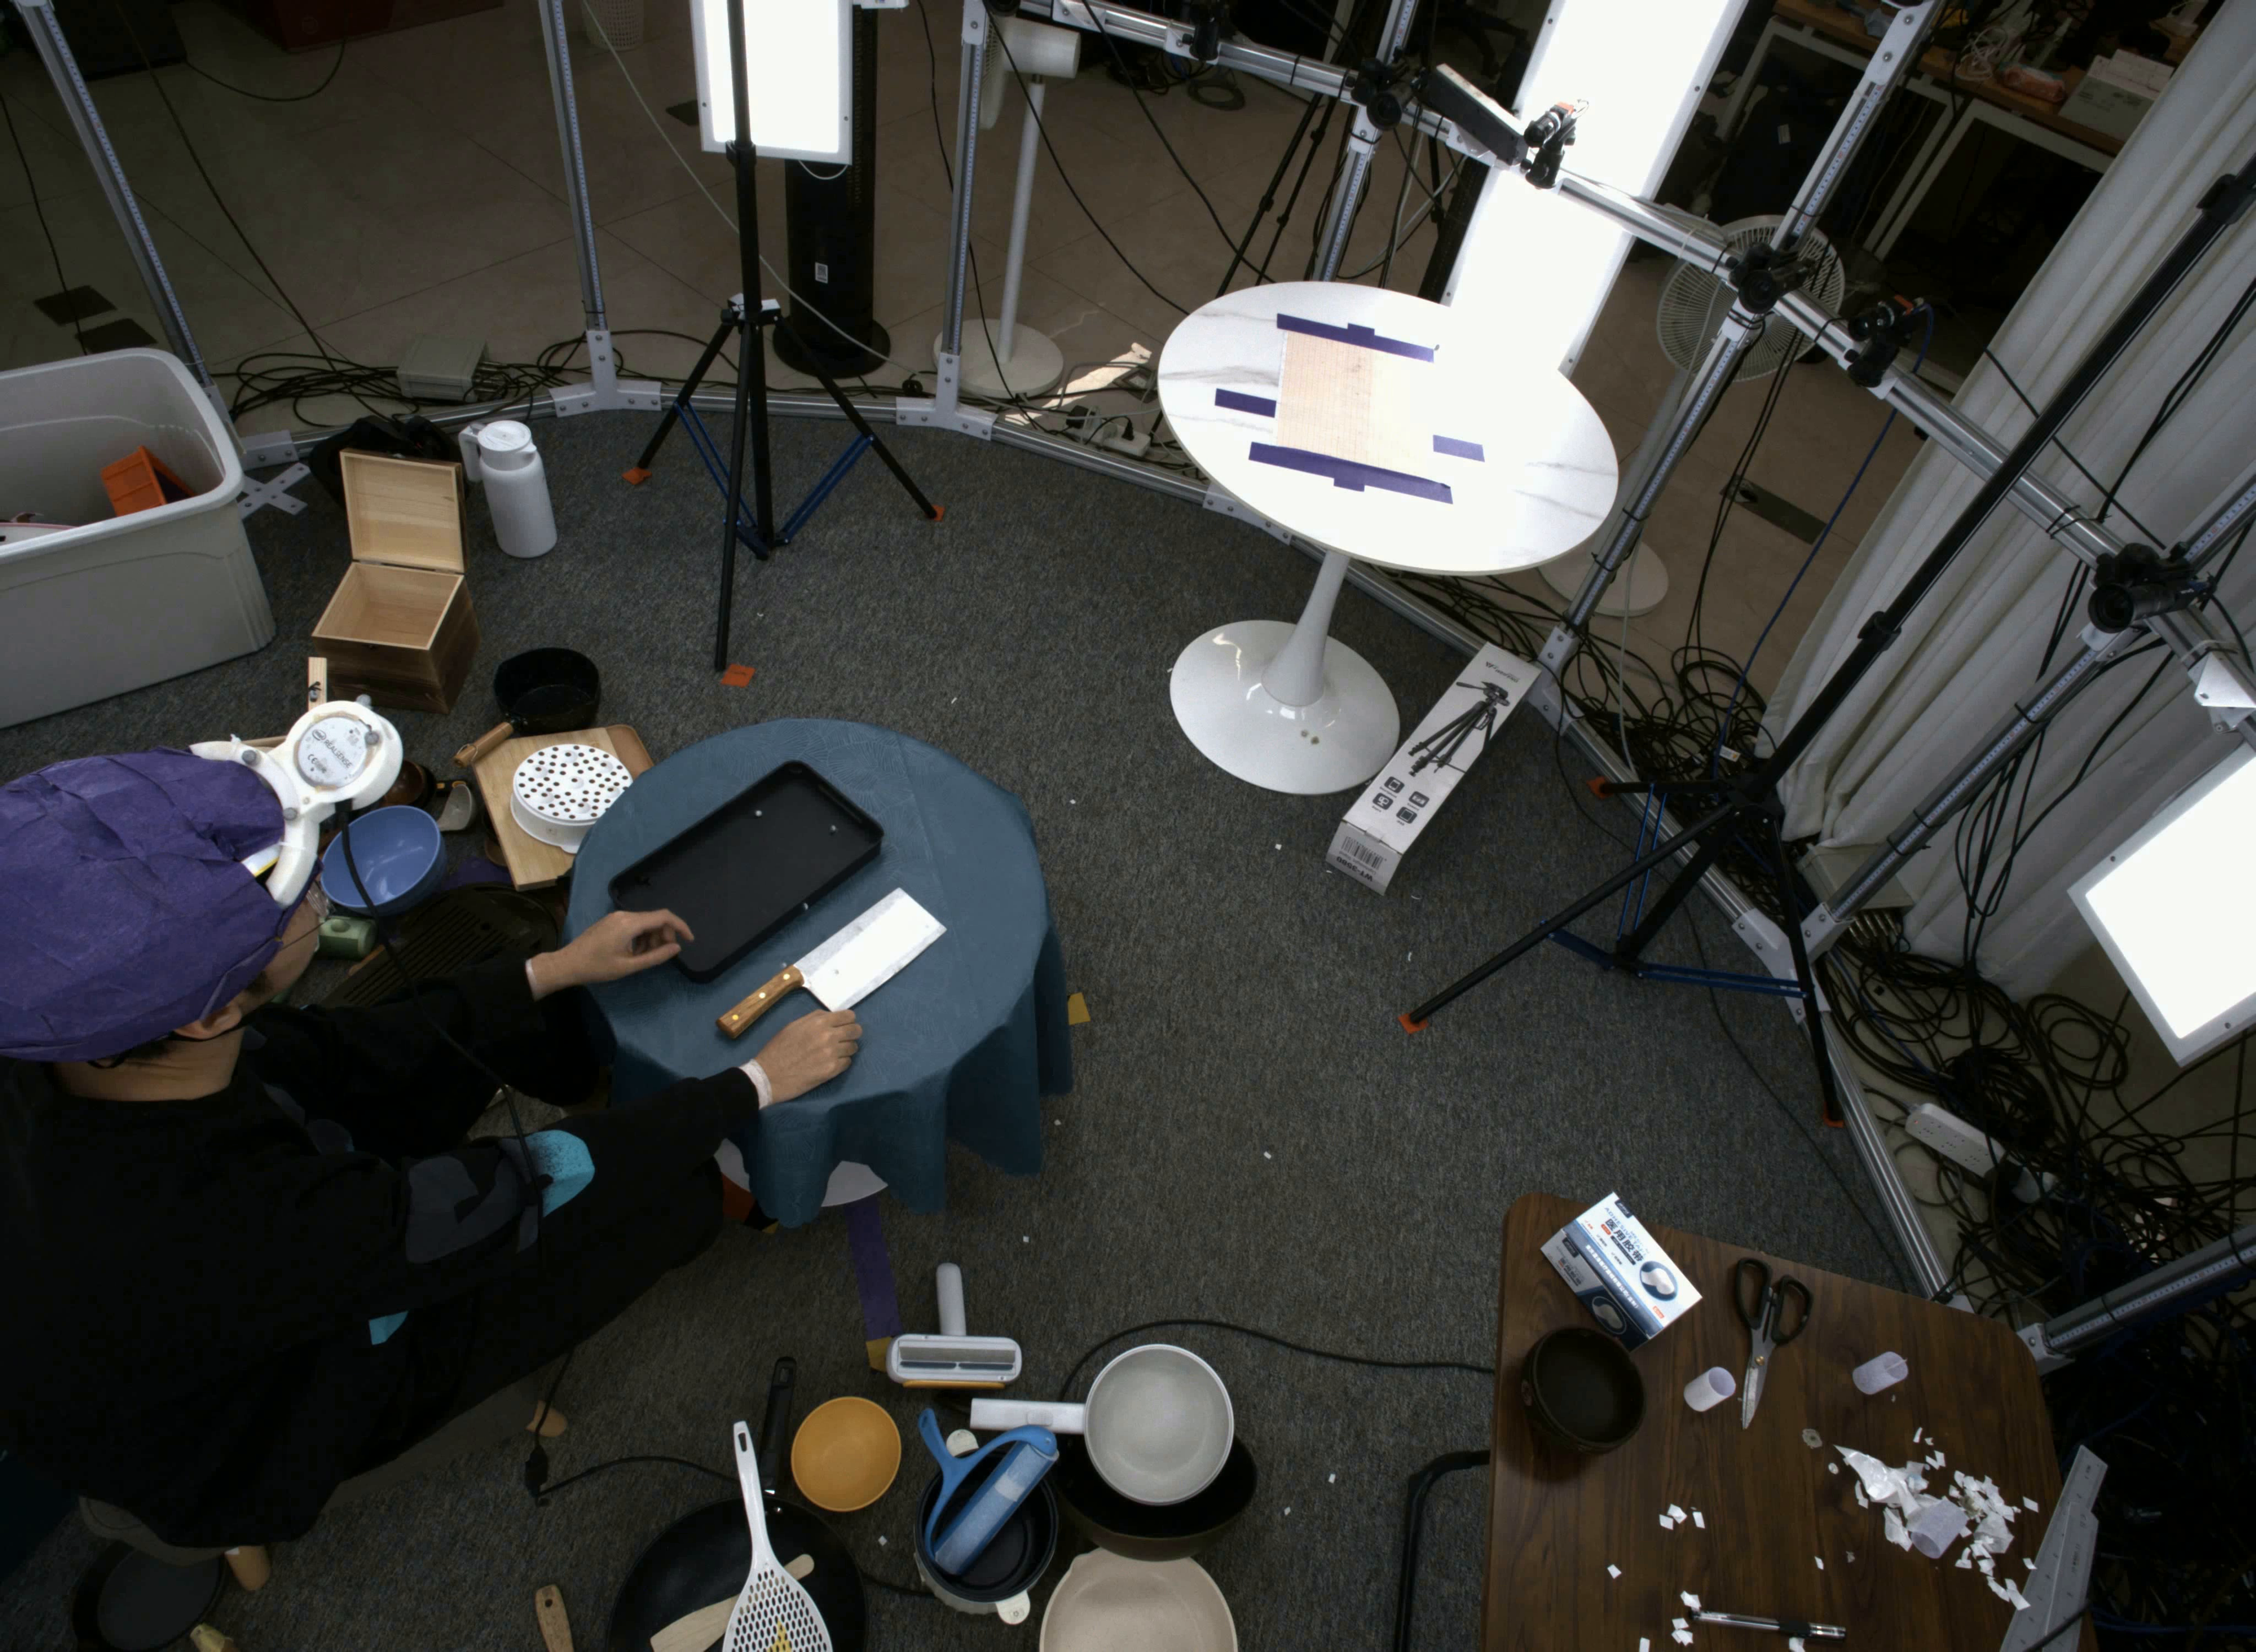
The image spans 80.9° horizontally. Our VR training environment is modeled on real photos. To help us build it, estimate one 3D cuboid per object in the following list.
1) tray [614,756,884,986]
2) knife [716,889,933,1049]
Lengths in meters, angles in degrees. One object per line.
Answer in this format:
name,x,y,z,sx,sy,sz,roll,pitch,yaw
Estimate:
tray,-0.476,0.048,1.640,0.181,0.038,0.318,37,54,13
knife,-0.360,0.181,1.585,0.091,0.021,0.306,40,52,13
